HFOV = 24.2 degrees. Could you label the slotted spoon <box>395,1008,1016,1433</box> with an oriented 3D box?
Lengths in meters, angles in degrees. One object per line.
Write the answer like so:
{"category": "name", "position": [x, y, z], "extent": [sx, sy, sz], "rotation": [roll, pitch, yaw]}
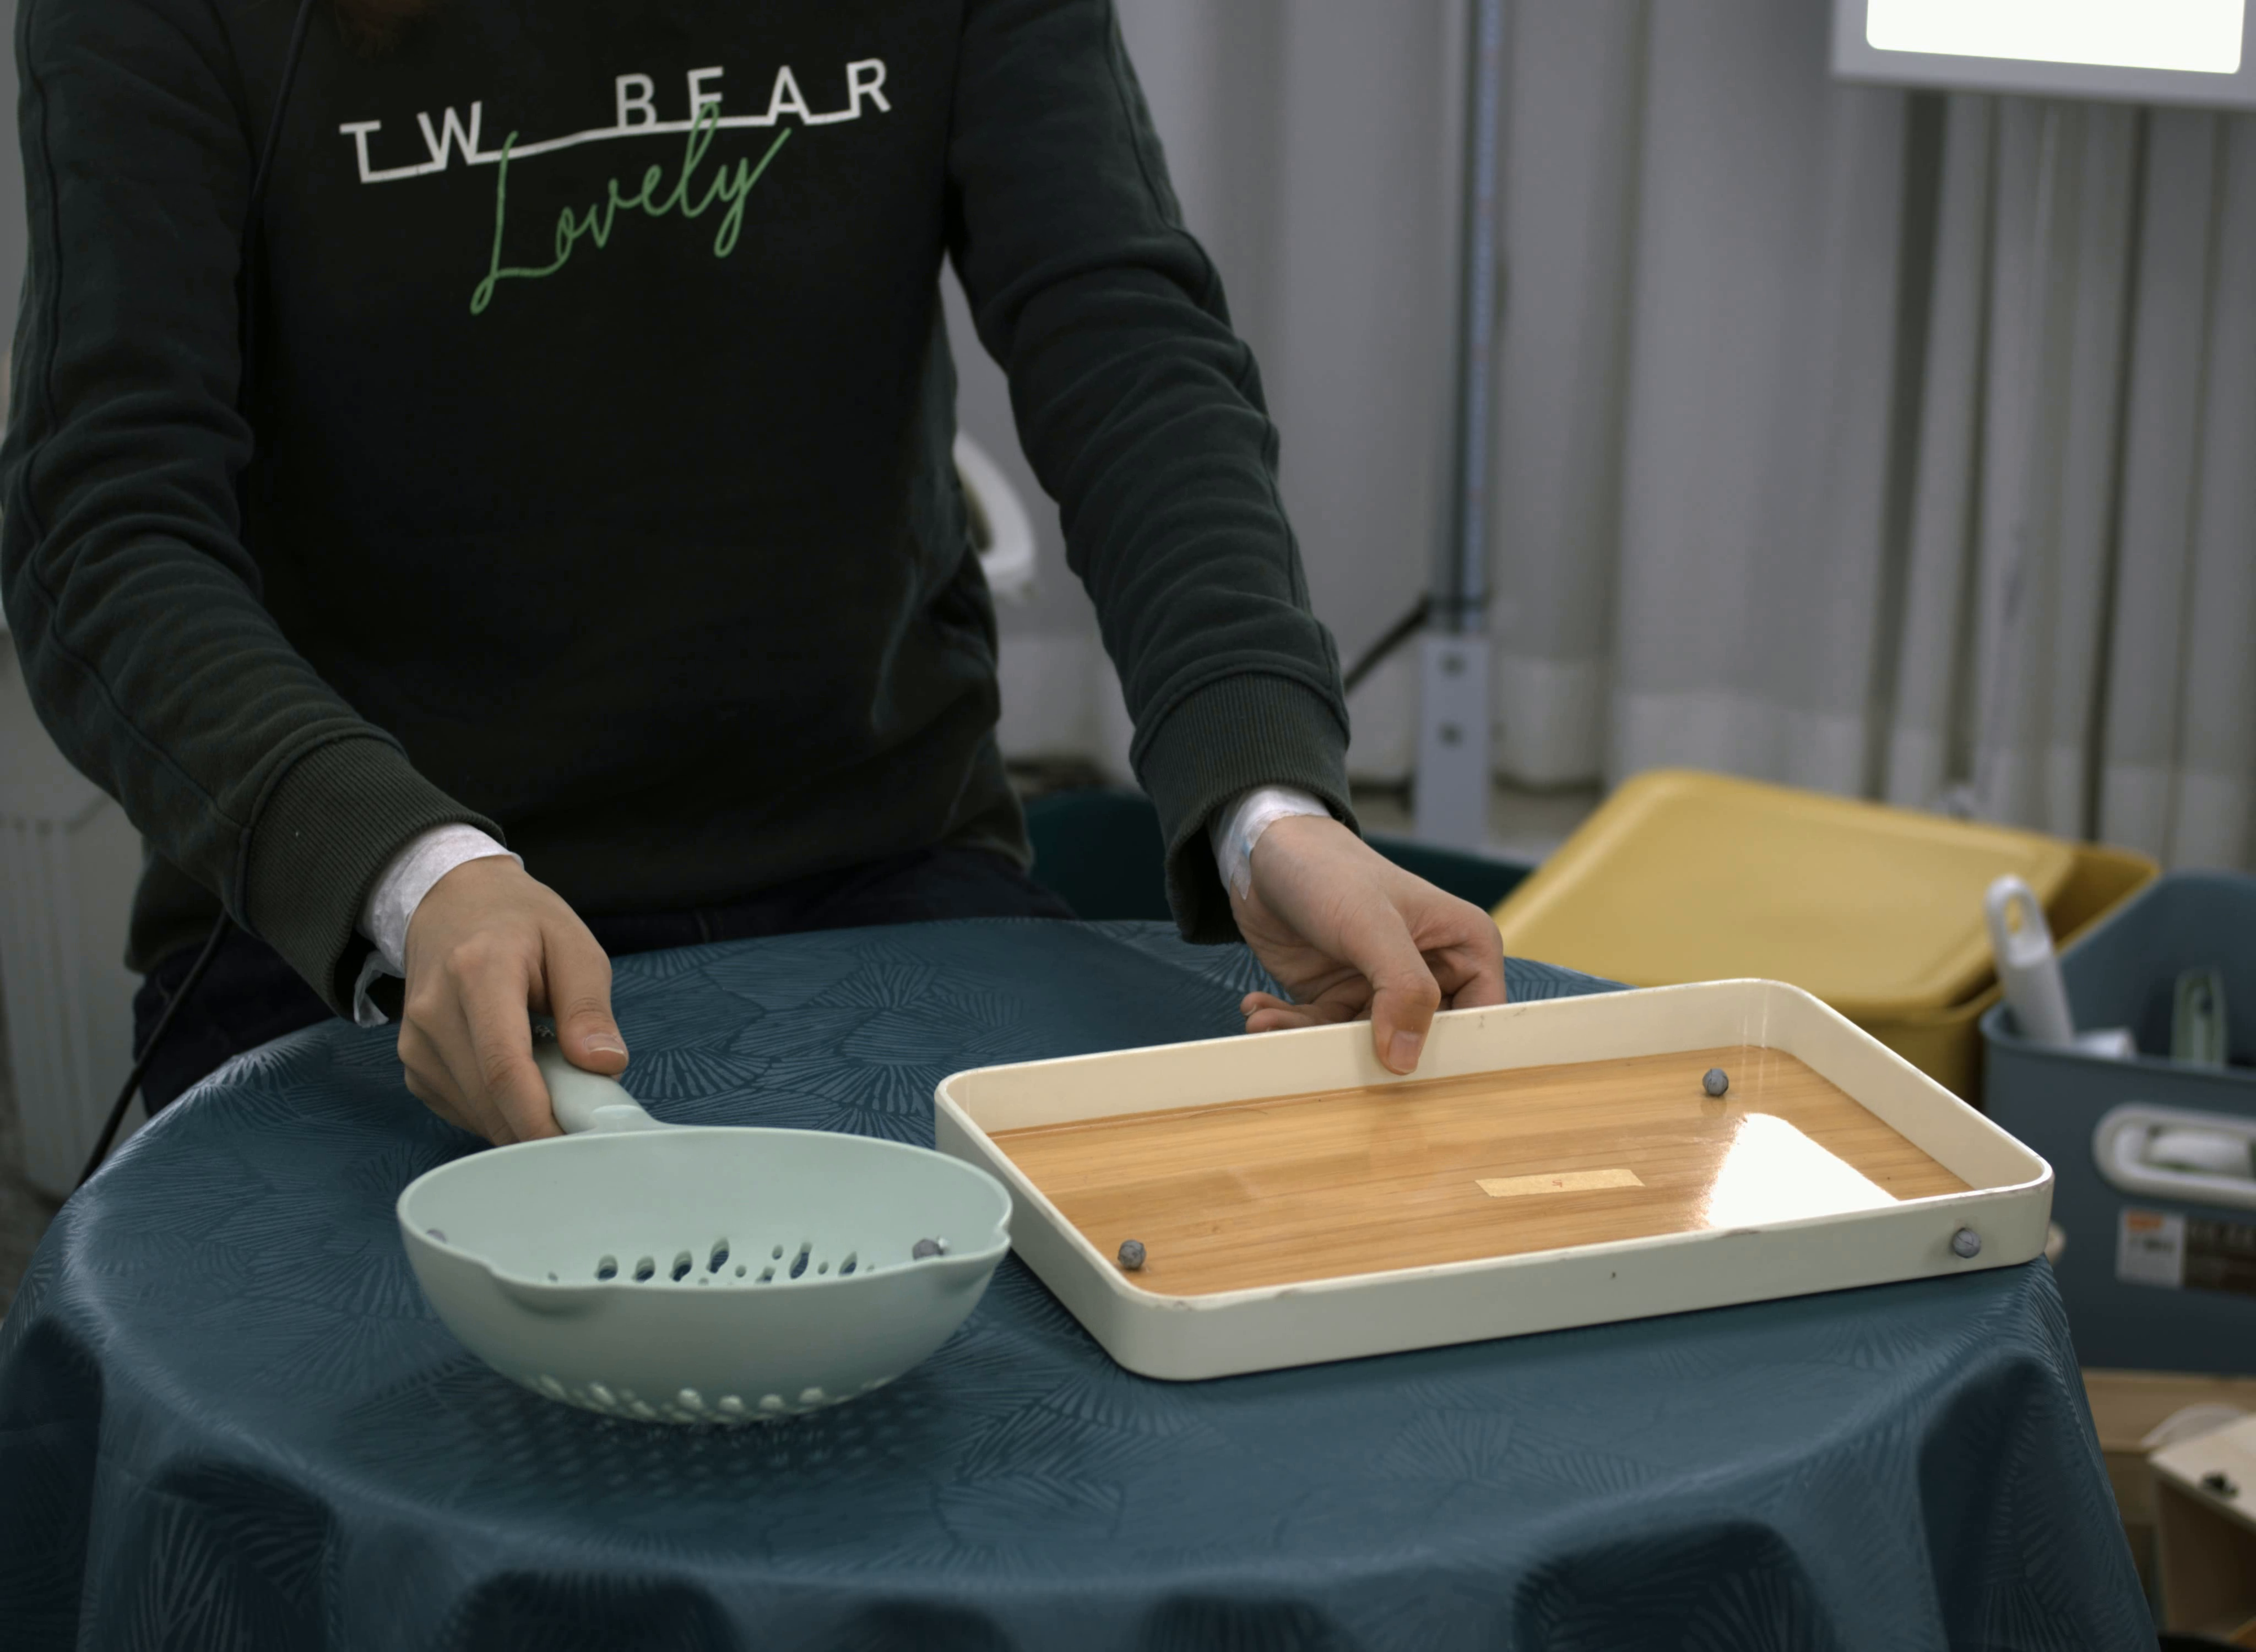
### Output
{"category": "slotted spoon", "position": [-0.145, 0.098, 1.534], "extent": [0.170, 0.076, 0.355], "rotation": [-2, 19, -18]}

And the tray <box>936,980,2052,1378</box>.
{"category": "tray", "position": [0.108, 0.103, 1.597], "extent": [0.301, 0.027, 0.189], "rotation": [-5, 20, -21]}
